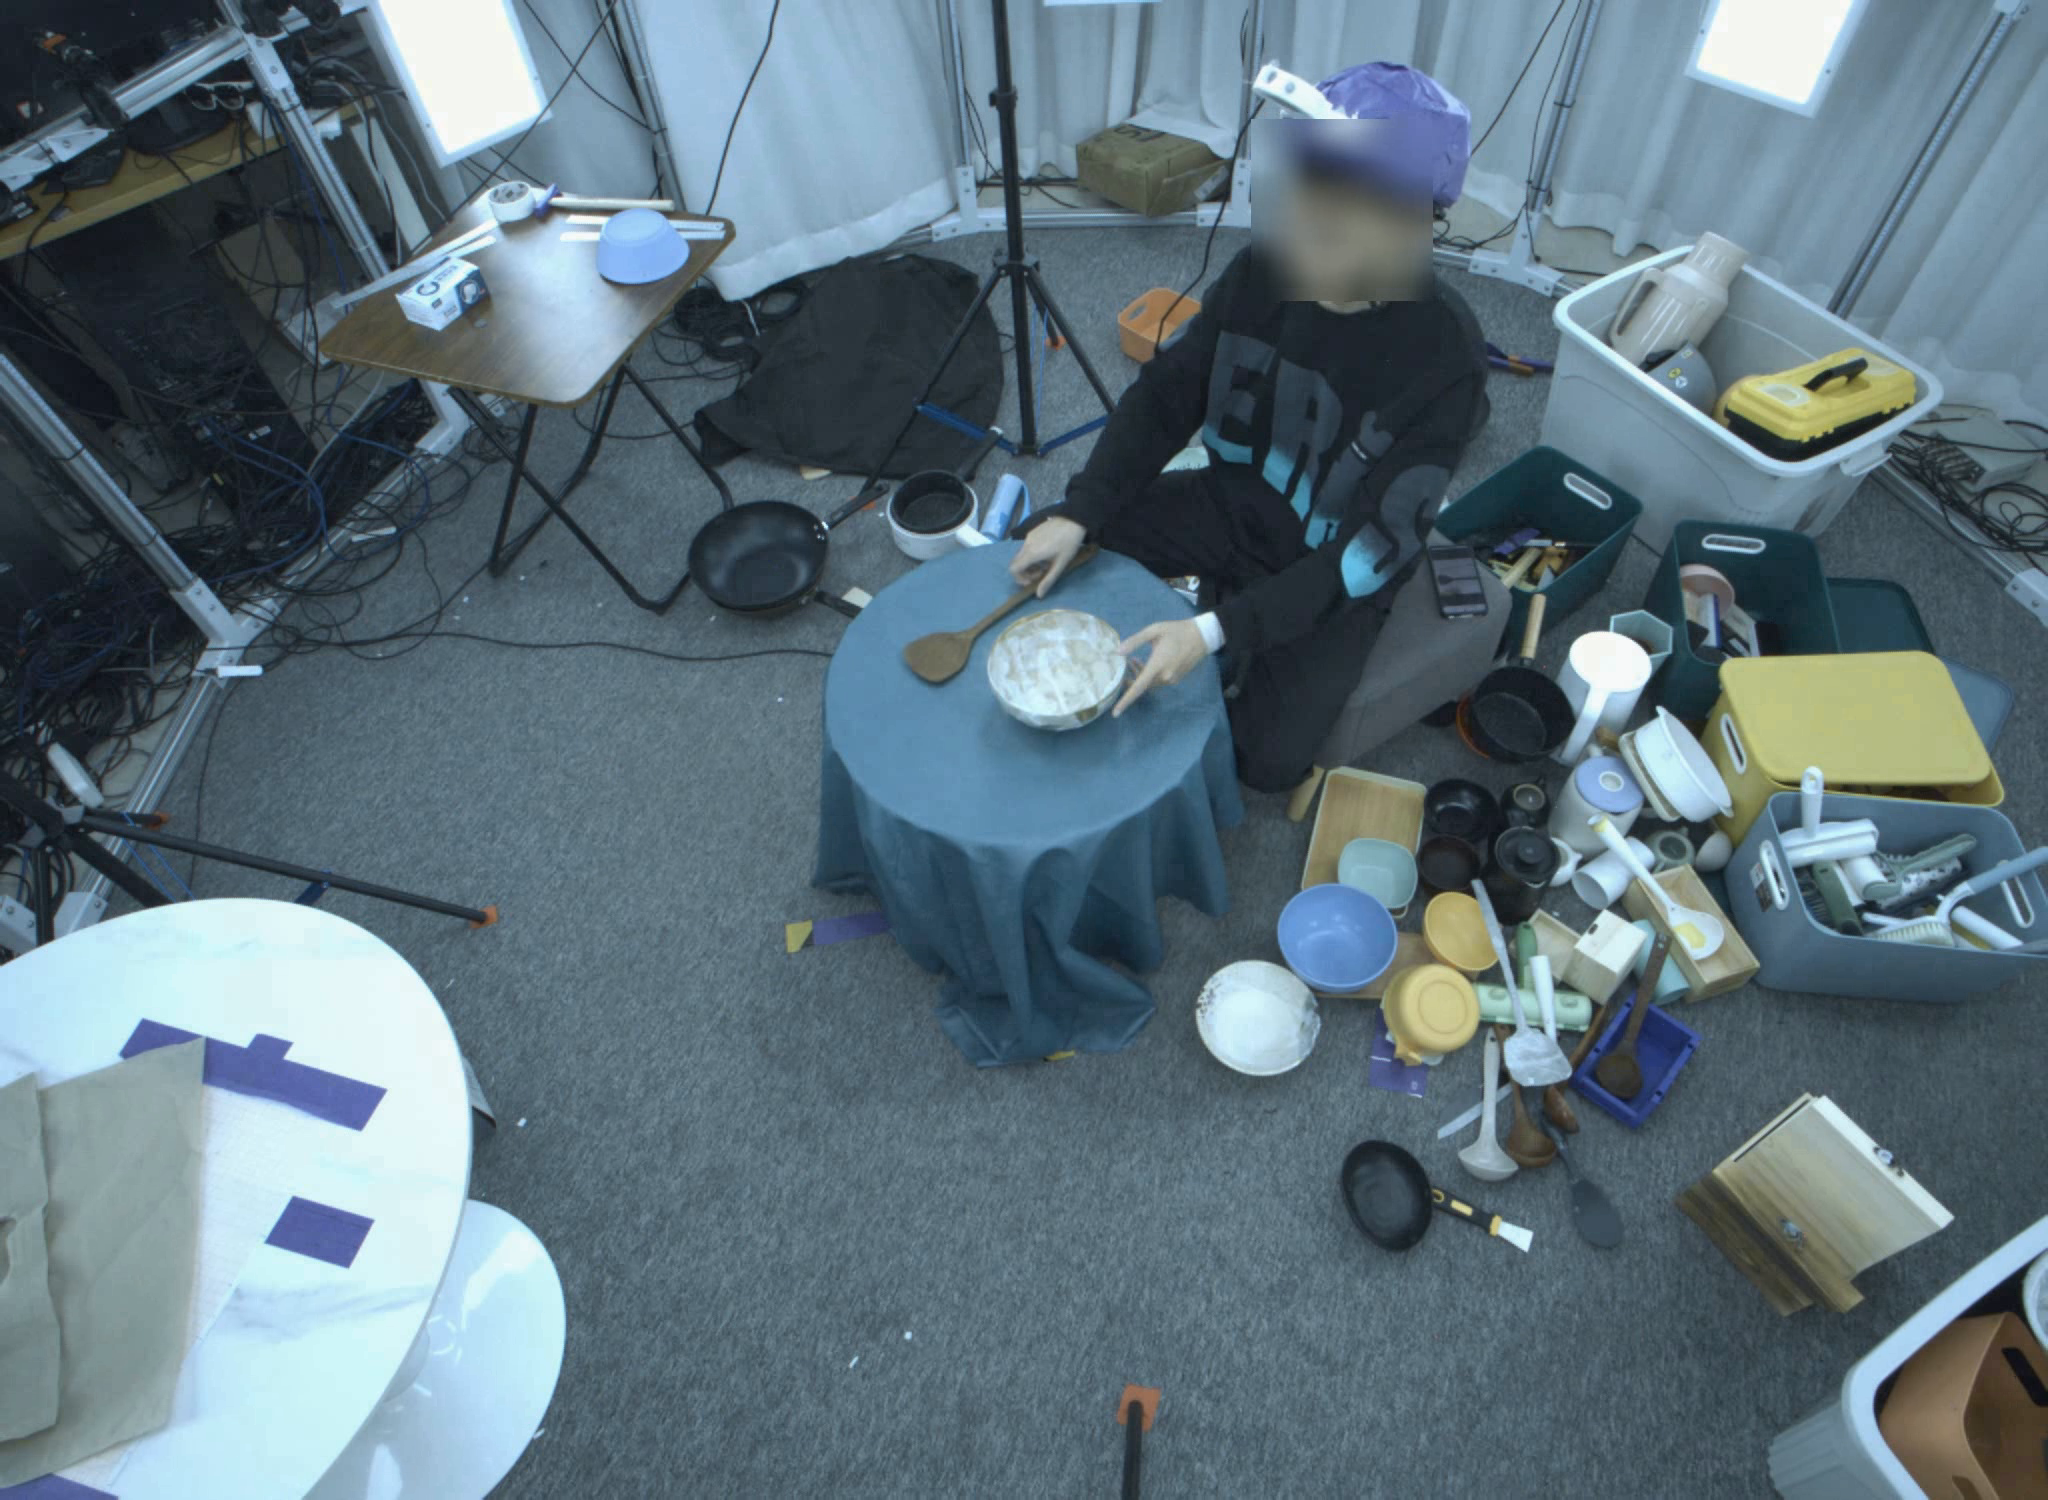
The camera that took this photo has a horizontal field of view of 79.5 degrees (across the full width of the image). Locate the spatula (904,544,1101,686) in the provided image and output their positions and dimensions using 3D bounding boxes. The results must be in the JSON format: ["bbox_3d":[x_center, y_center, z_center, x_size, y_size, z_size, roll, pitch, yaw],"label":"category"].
[{"bbox_3d":[-0.022,-0.225,1.945,0.388,0.016,0.094,-38,63,-21],"label":"spatula"}]

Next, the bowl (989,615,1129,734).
[{"bbox_3d":[0.055,-0.098,1.808,0.214,0.095,0.212,-1,53,2],"label":"bowl"}]
